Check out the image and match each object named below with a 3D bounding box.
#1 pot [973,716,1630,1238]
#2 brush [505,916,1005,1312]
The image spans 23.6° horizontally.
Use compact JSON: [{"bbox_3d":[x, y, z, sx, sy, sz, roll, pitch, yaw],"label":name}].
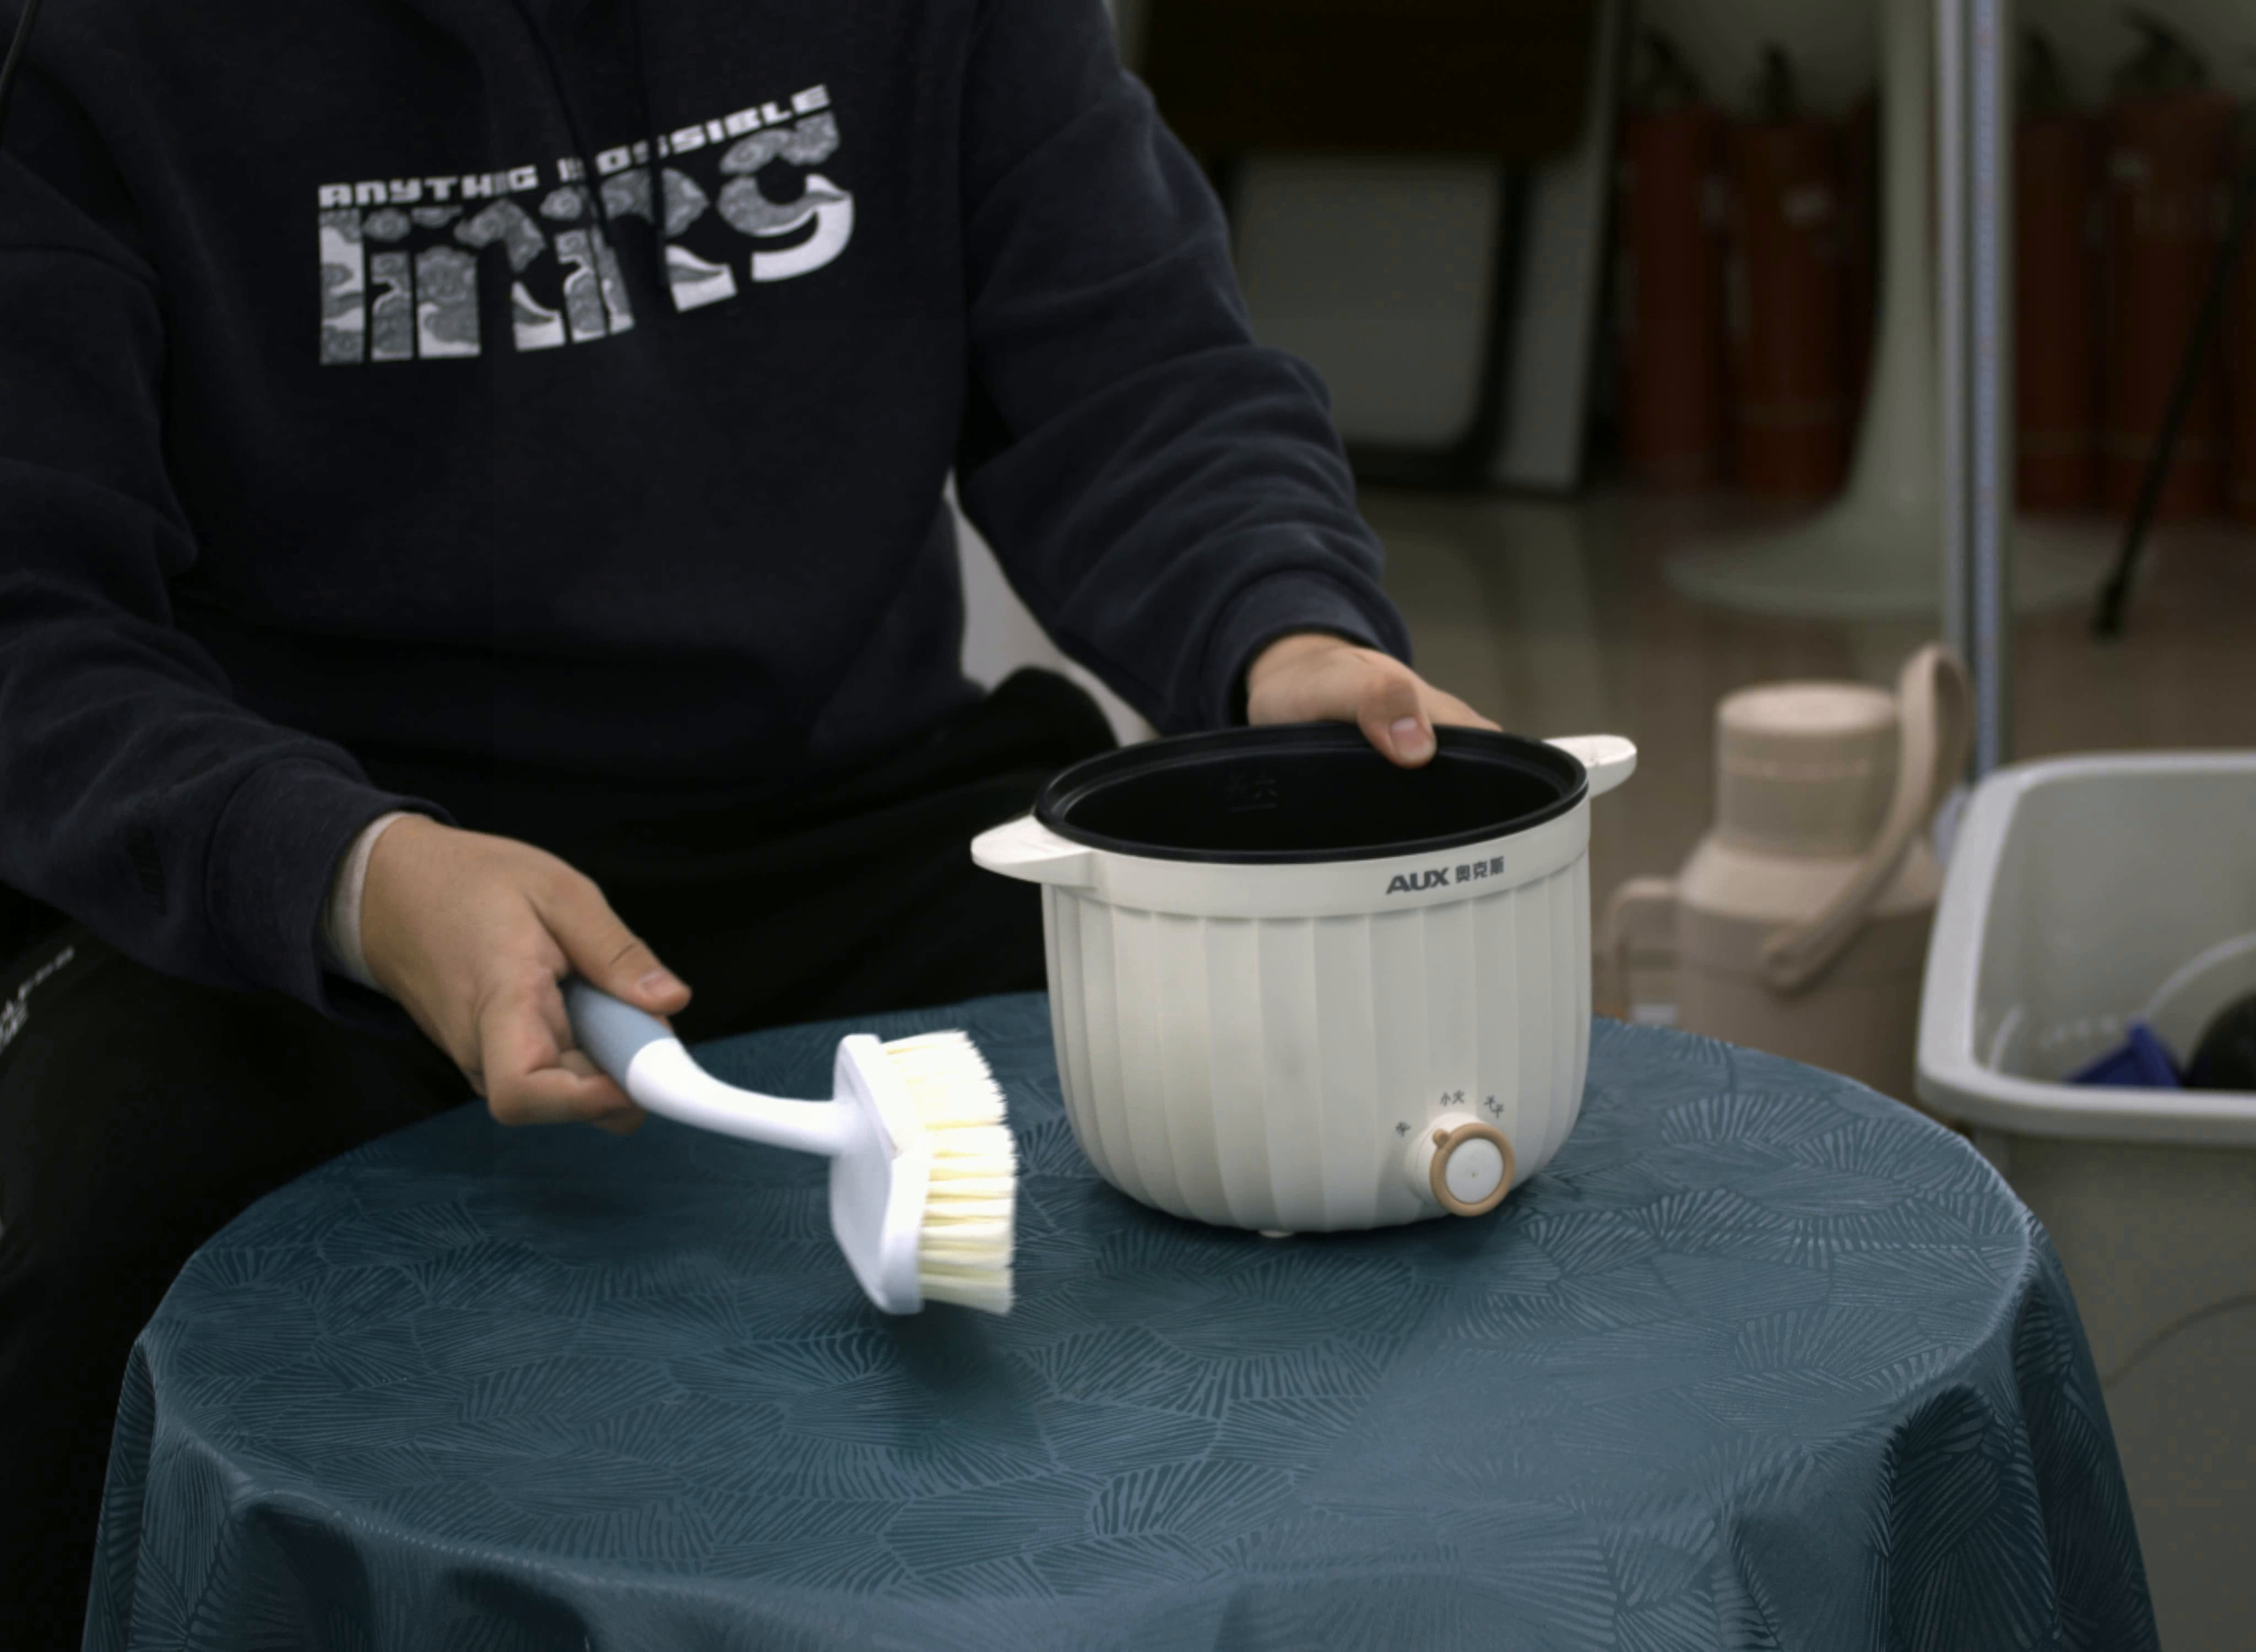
[{"bbox_3d":[0.066,0.050,1.752,0.235,0.144,0.192,-11,12,-24],"label":"pot"},{"bbox_3d":[-0.103,0.077,1.720,0.083,0.083,0.329,37,-2,-30],"label":"brush"}]
